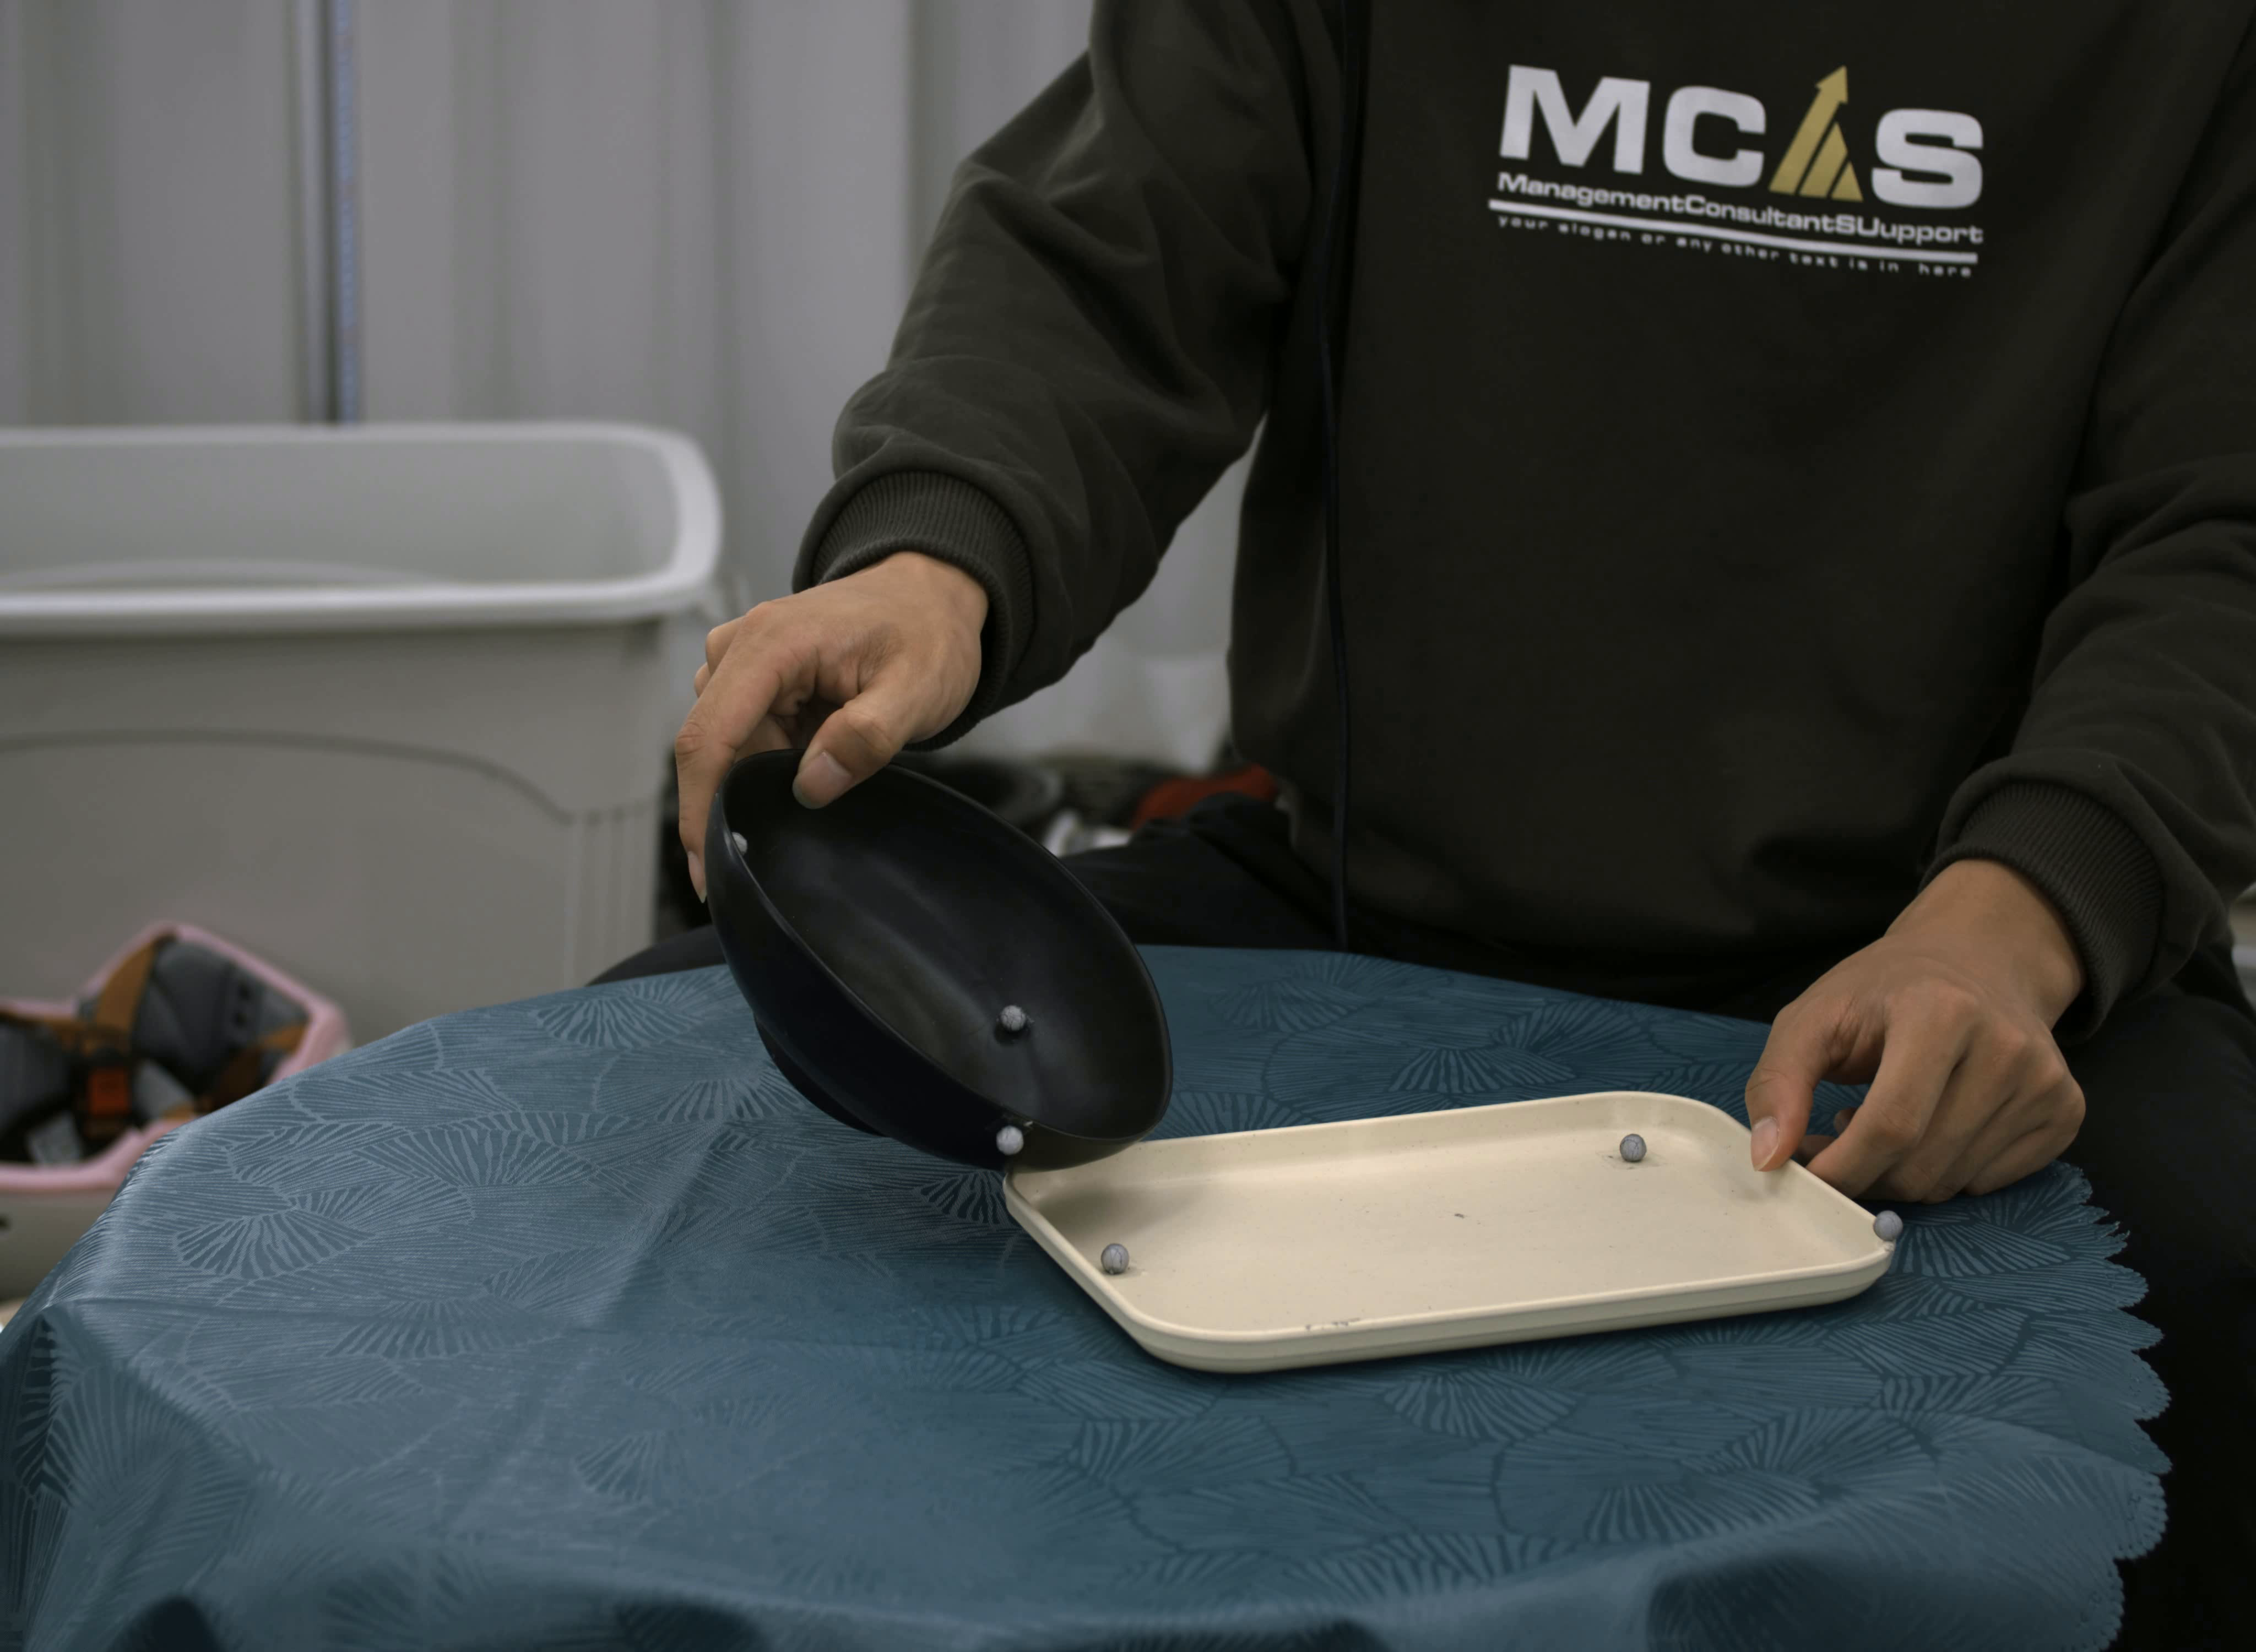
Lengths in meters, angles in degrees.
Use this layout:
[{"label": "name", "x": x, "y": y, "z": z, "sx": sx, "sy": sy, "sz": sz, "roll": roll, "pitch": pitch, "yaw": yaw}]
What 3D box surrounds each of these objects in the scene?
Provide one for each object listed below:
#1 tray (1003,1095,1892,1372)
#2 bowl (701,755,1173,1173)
[{"label": "tray", "x": 0.094, "y": 0.121, "z": 1.573, "sx": 0.240, "sy": 0.017, "sz": 0.169, "roll": -5, "pitch": 16, "yaw": -20}, {"label": "bowl", "x": -0.069, "y": 0.052, "z": 1.607, "sx": 0.170, "sy": 0.067, "sz": 0.137, "roll": 41, "pitch": 29, "yaw": 4}]
